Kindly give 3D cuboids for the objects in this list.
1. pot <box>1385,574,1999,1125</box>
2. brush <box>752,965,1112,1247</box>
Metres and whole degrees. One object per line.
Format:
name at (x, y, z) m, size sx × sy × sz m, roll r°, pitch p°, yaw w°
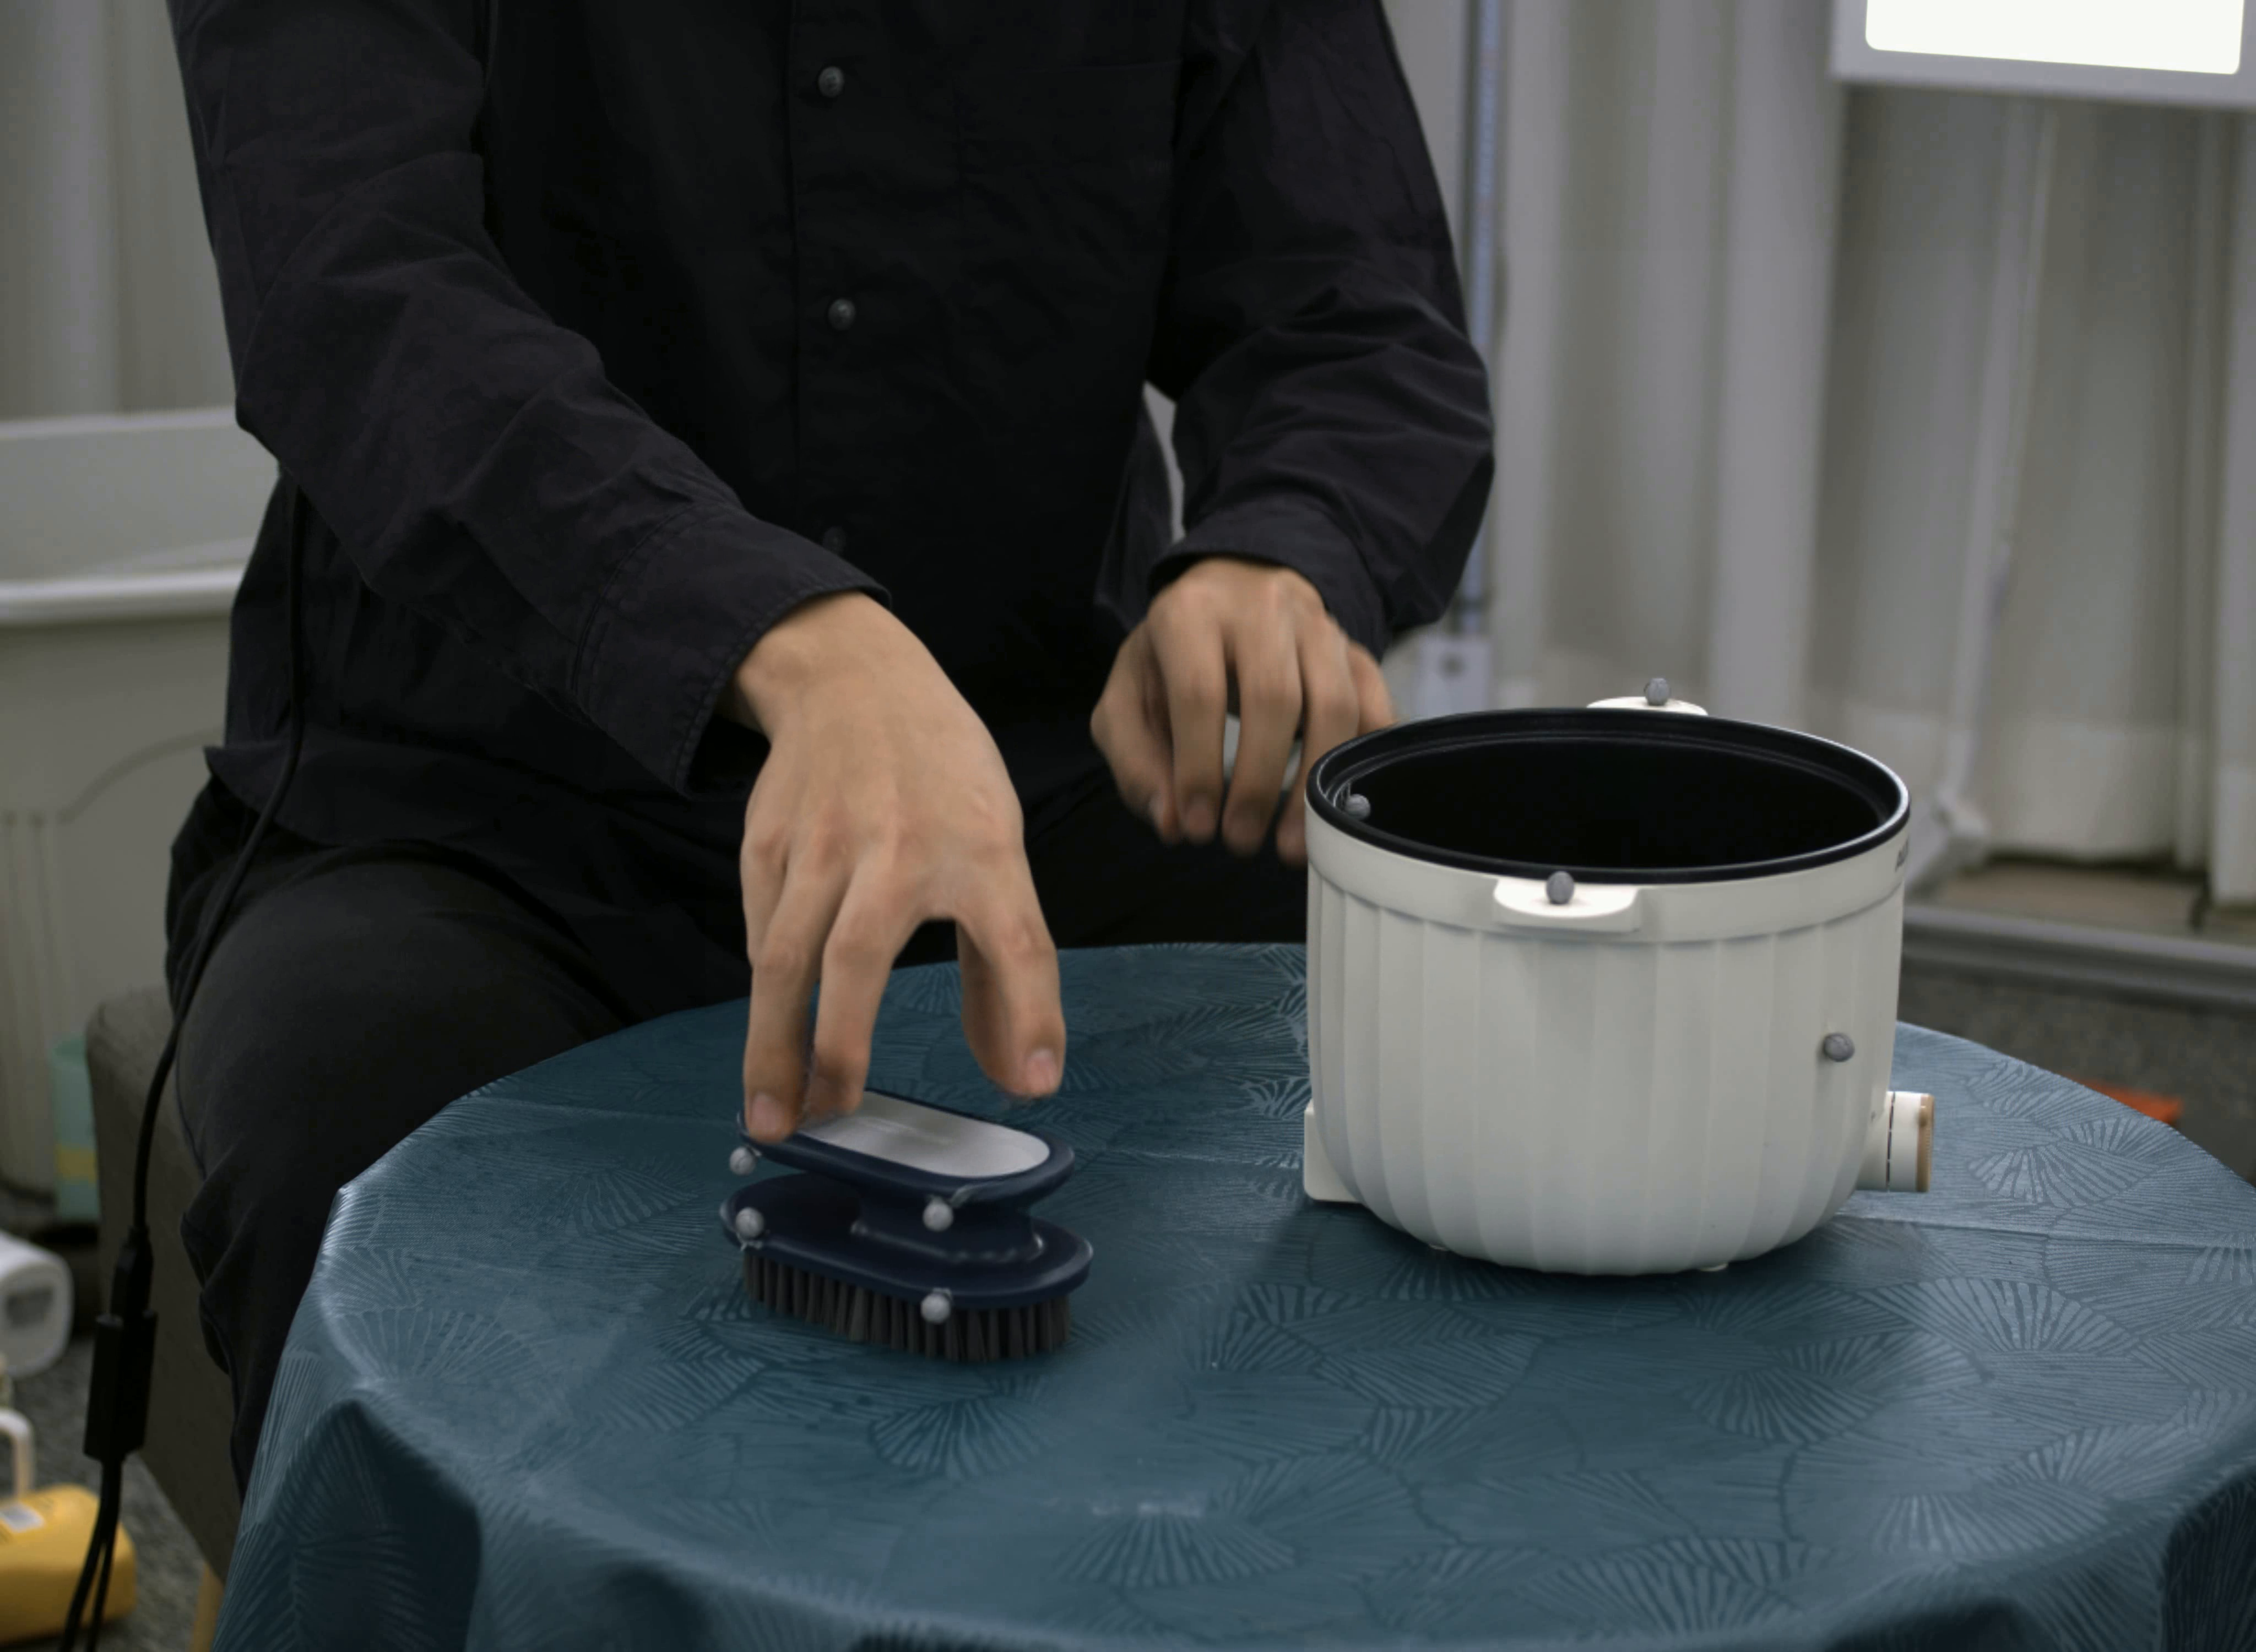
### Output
pot at (0.175, 0.010, 1.635) m, size 0.189 × 0.144 × 0.240 m, roll 1°, pitch 17°, yaw 11°
brush at (-0.058, 0.084, 1.553) m, size 0.120 × 0.062 × 0.068 m, roll 18°, pitch 25°, yaw 39°
